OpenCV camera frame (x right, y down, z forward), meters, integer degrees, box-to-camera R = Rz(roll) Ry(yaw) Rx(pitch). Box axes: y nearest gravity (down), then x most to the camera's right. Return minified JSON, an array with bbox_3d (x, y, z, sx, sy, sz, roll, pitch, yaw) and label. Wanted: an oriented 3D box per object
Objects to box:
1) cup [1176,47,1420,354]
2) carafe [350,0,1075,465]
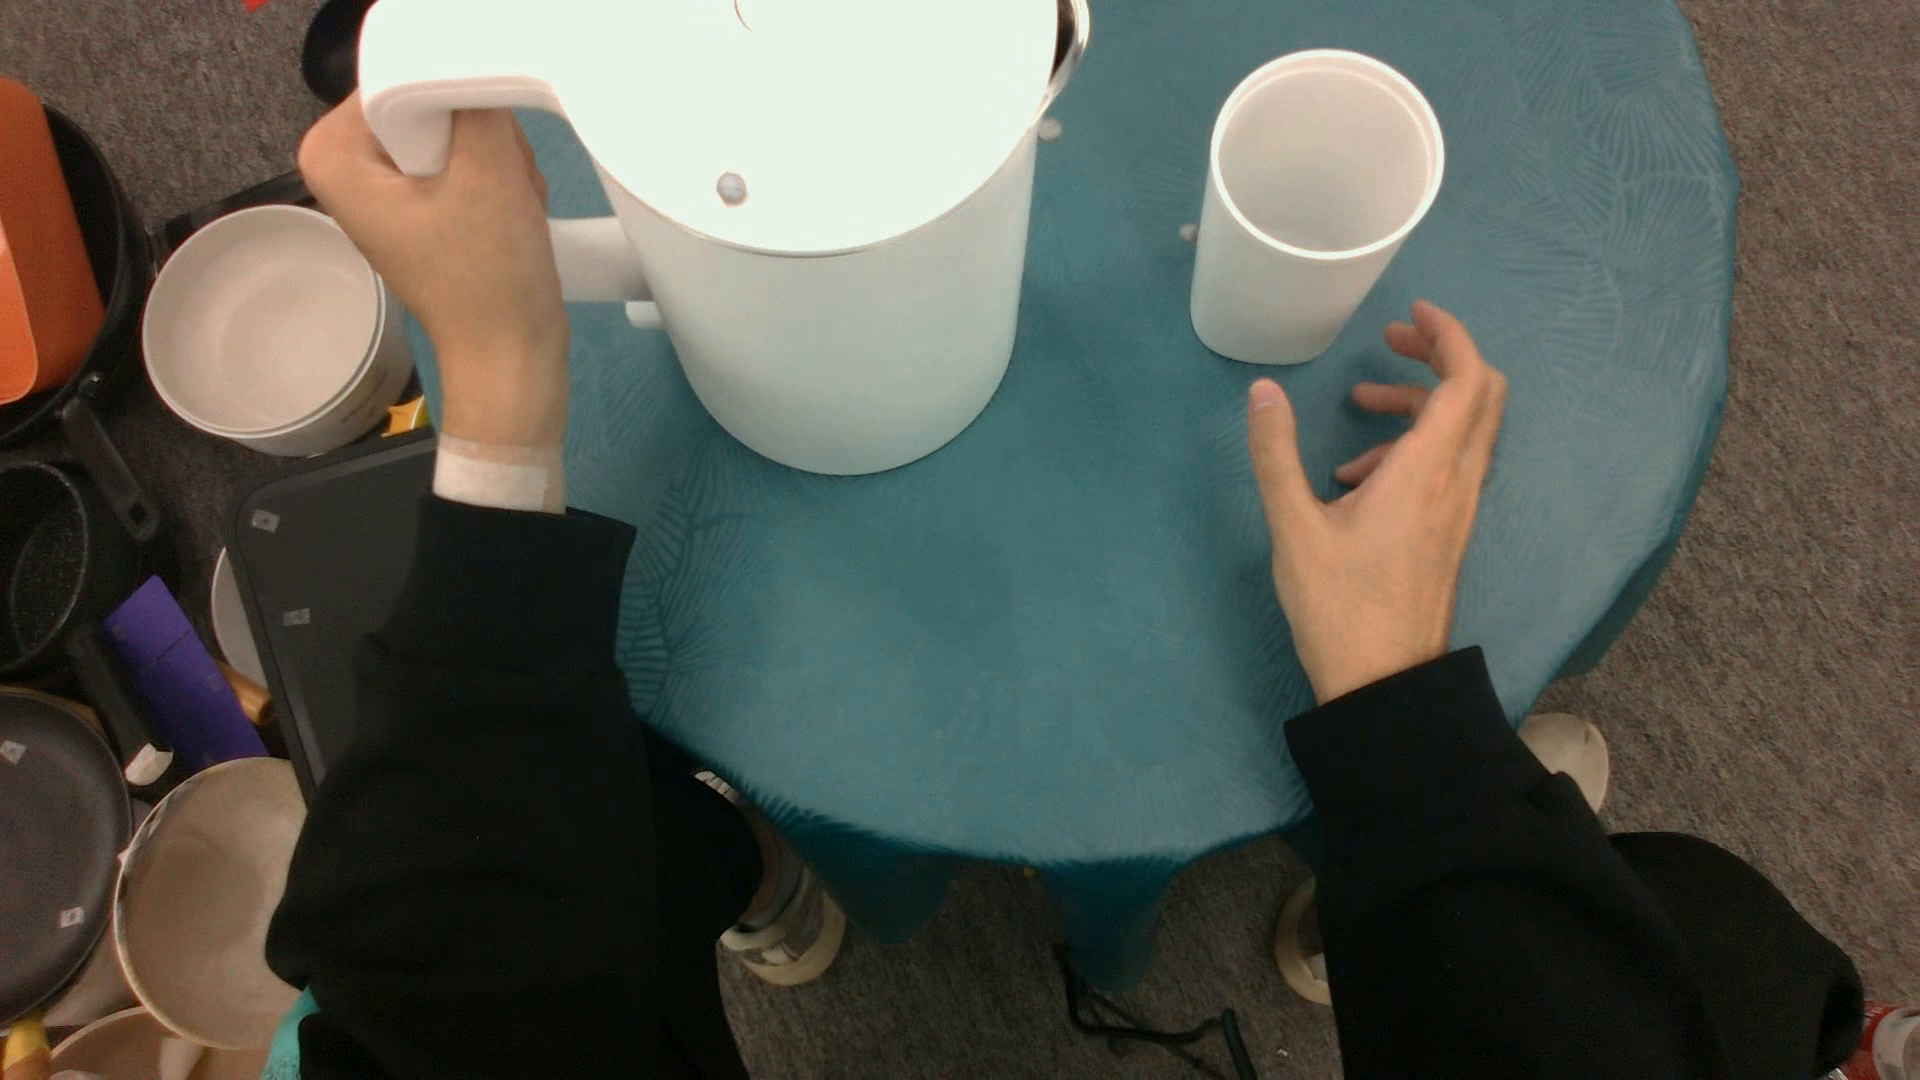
[{"bbox_3d":[0.127,-0.128,0.554,0.081,0.125,0.082,0,78,2],"label":"cup"},{"bbox_3d":[-0.078,-0.129,0.498,0.213,0.239,0.152,-3,78,-4],"label":"carafe"}]
